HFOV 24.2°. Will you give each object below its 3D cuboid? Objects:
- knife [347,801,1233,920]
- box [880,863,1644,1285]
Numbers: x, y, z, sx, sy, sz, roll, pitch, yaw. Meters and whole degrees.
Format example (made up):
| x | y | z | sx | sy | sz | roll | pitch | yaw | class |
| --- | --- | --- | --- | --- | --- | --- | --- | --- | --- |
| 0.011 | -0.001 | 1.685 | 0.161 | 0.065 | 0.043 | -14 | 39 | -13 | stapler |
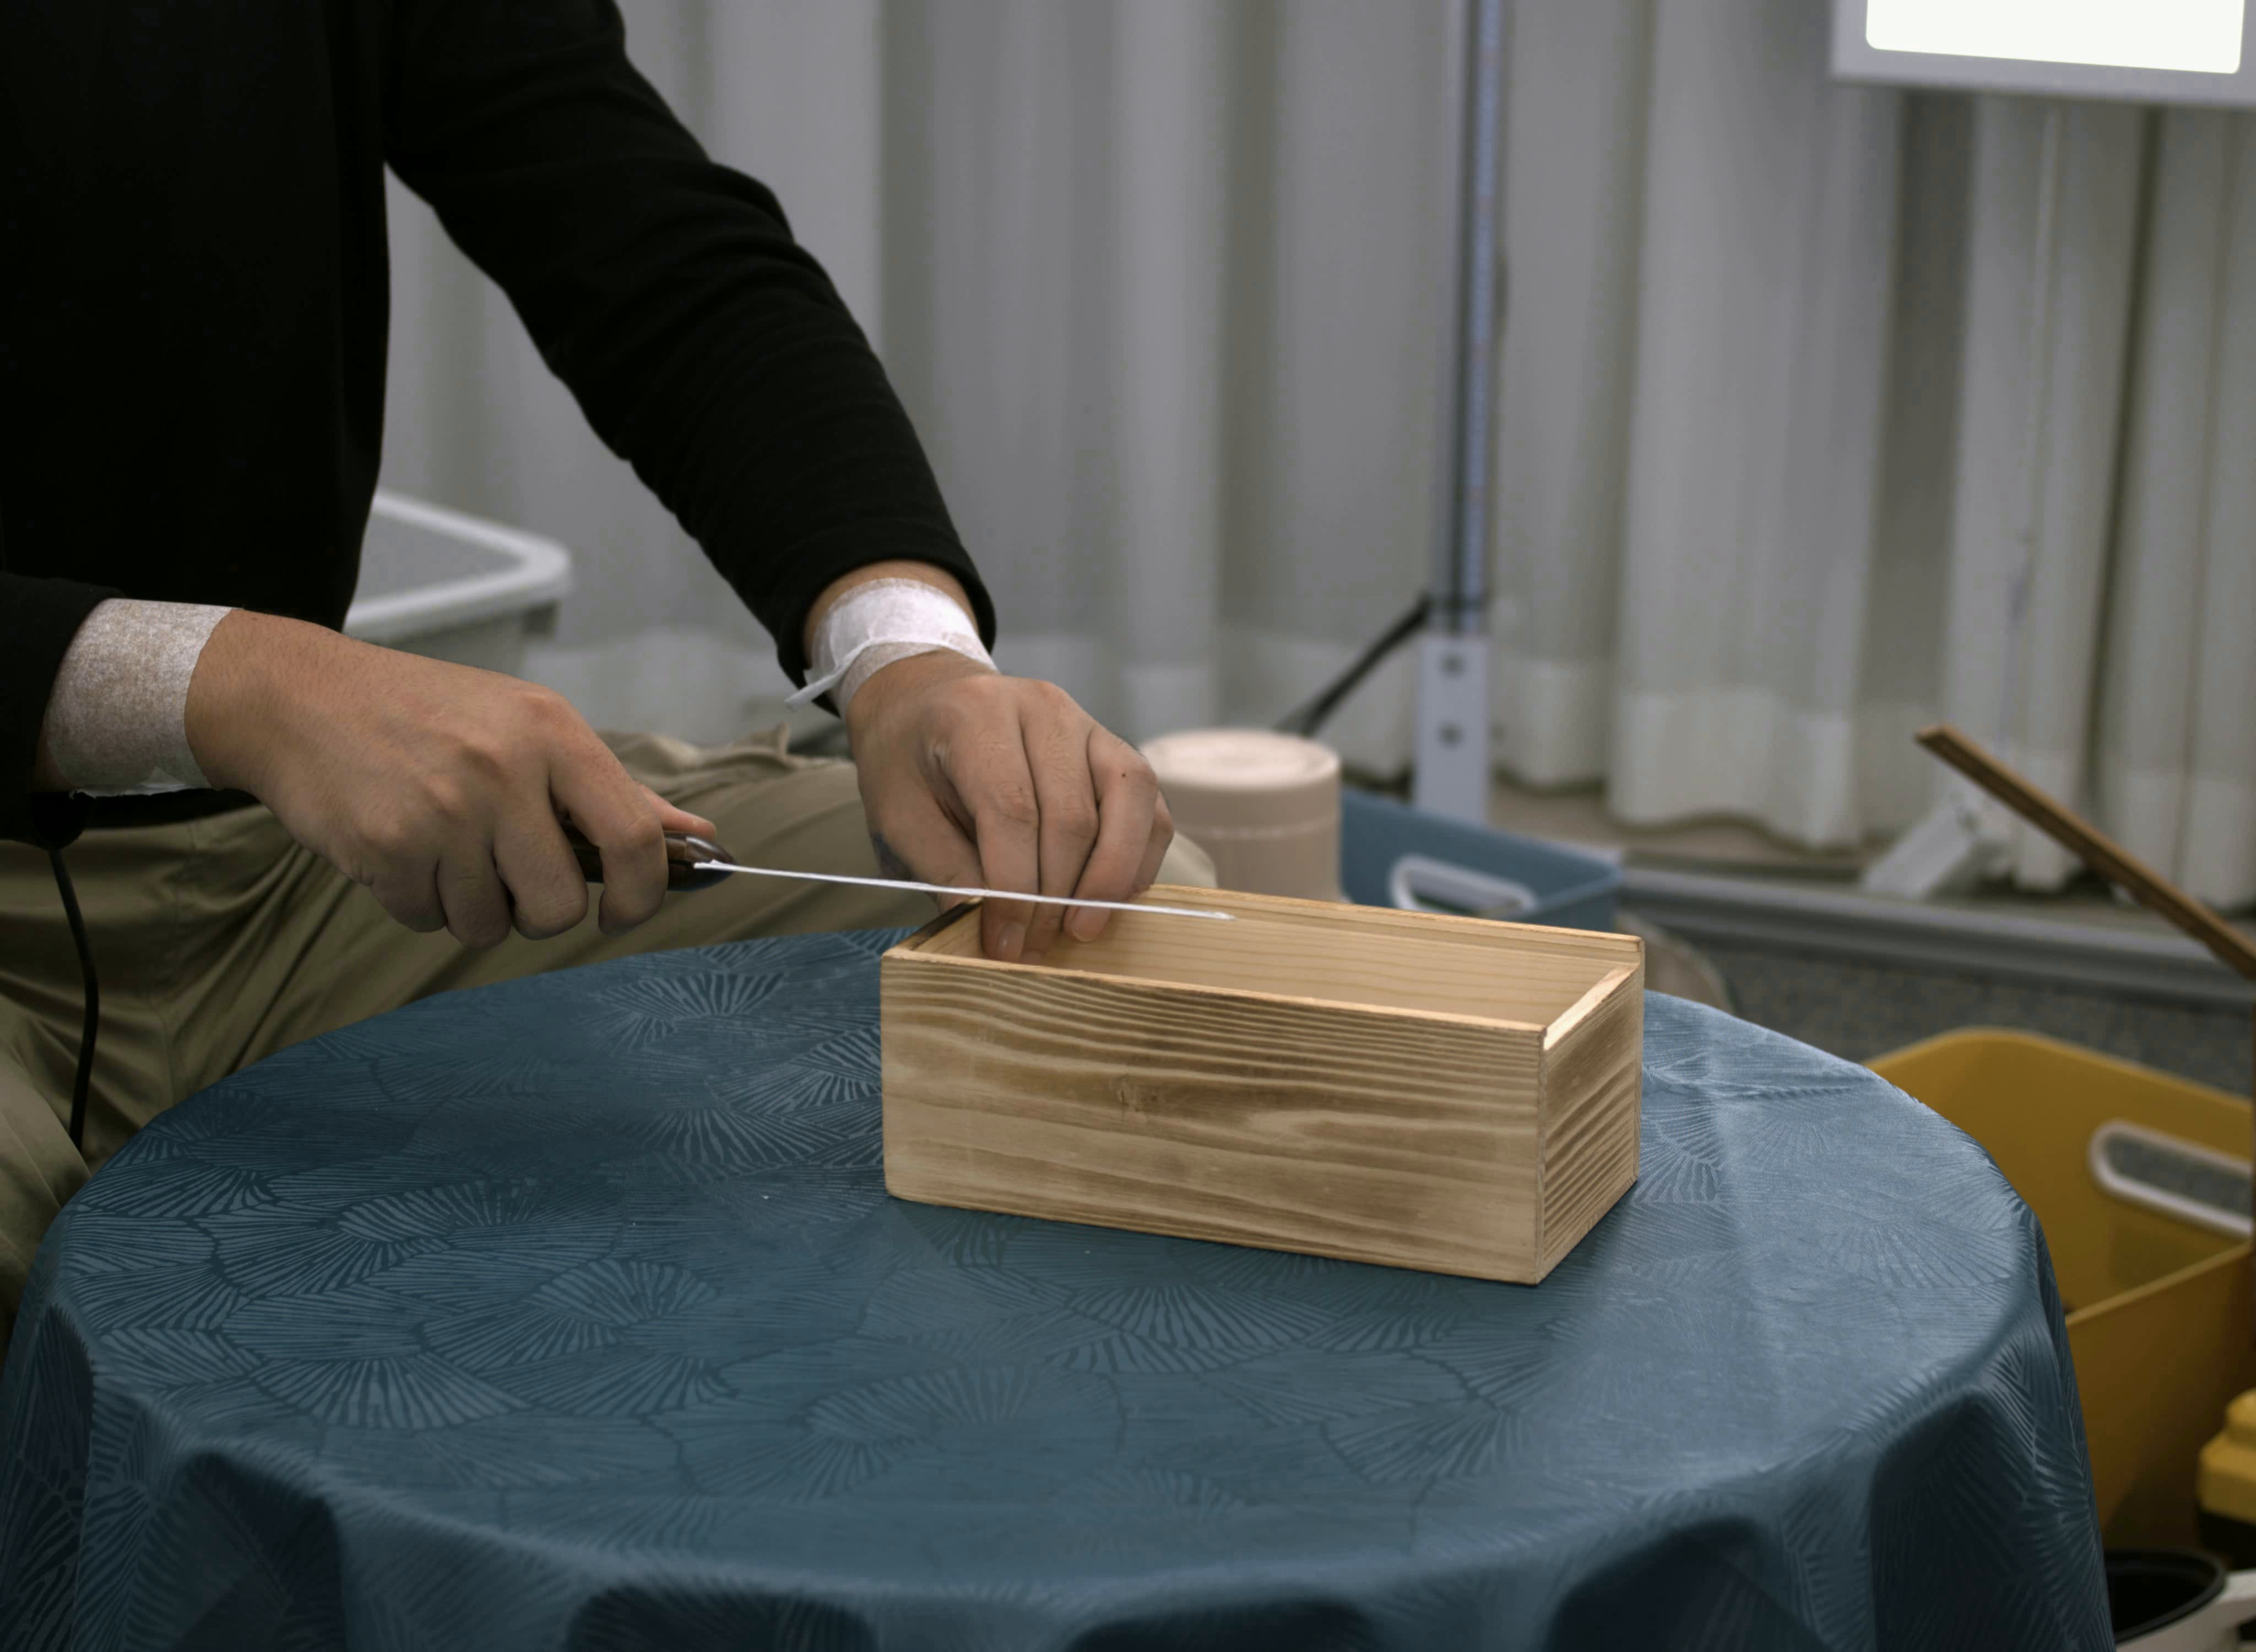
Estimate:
| x | y | z | sx | sy | sz | roll | pitch | yaw | class |
| --- | --- | --- | --- | --- | --- | --- | --- | --- | --- |
| -0.108 | 0.015 | 1.632 | 0.287 | 0.020 | 0.050 | 6 | 2 | 10 | knife |
| 0.041 | 0.073 | 1.613 | 0.209 | 0.081 | 0.107 | 7 | 16 | 20 | box |
